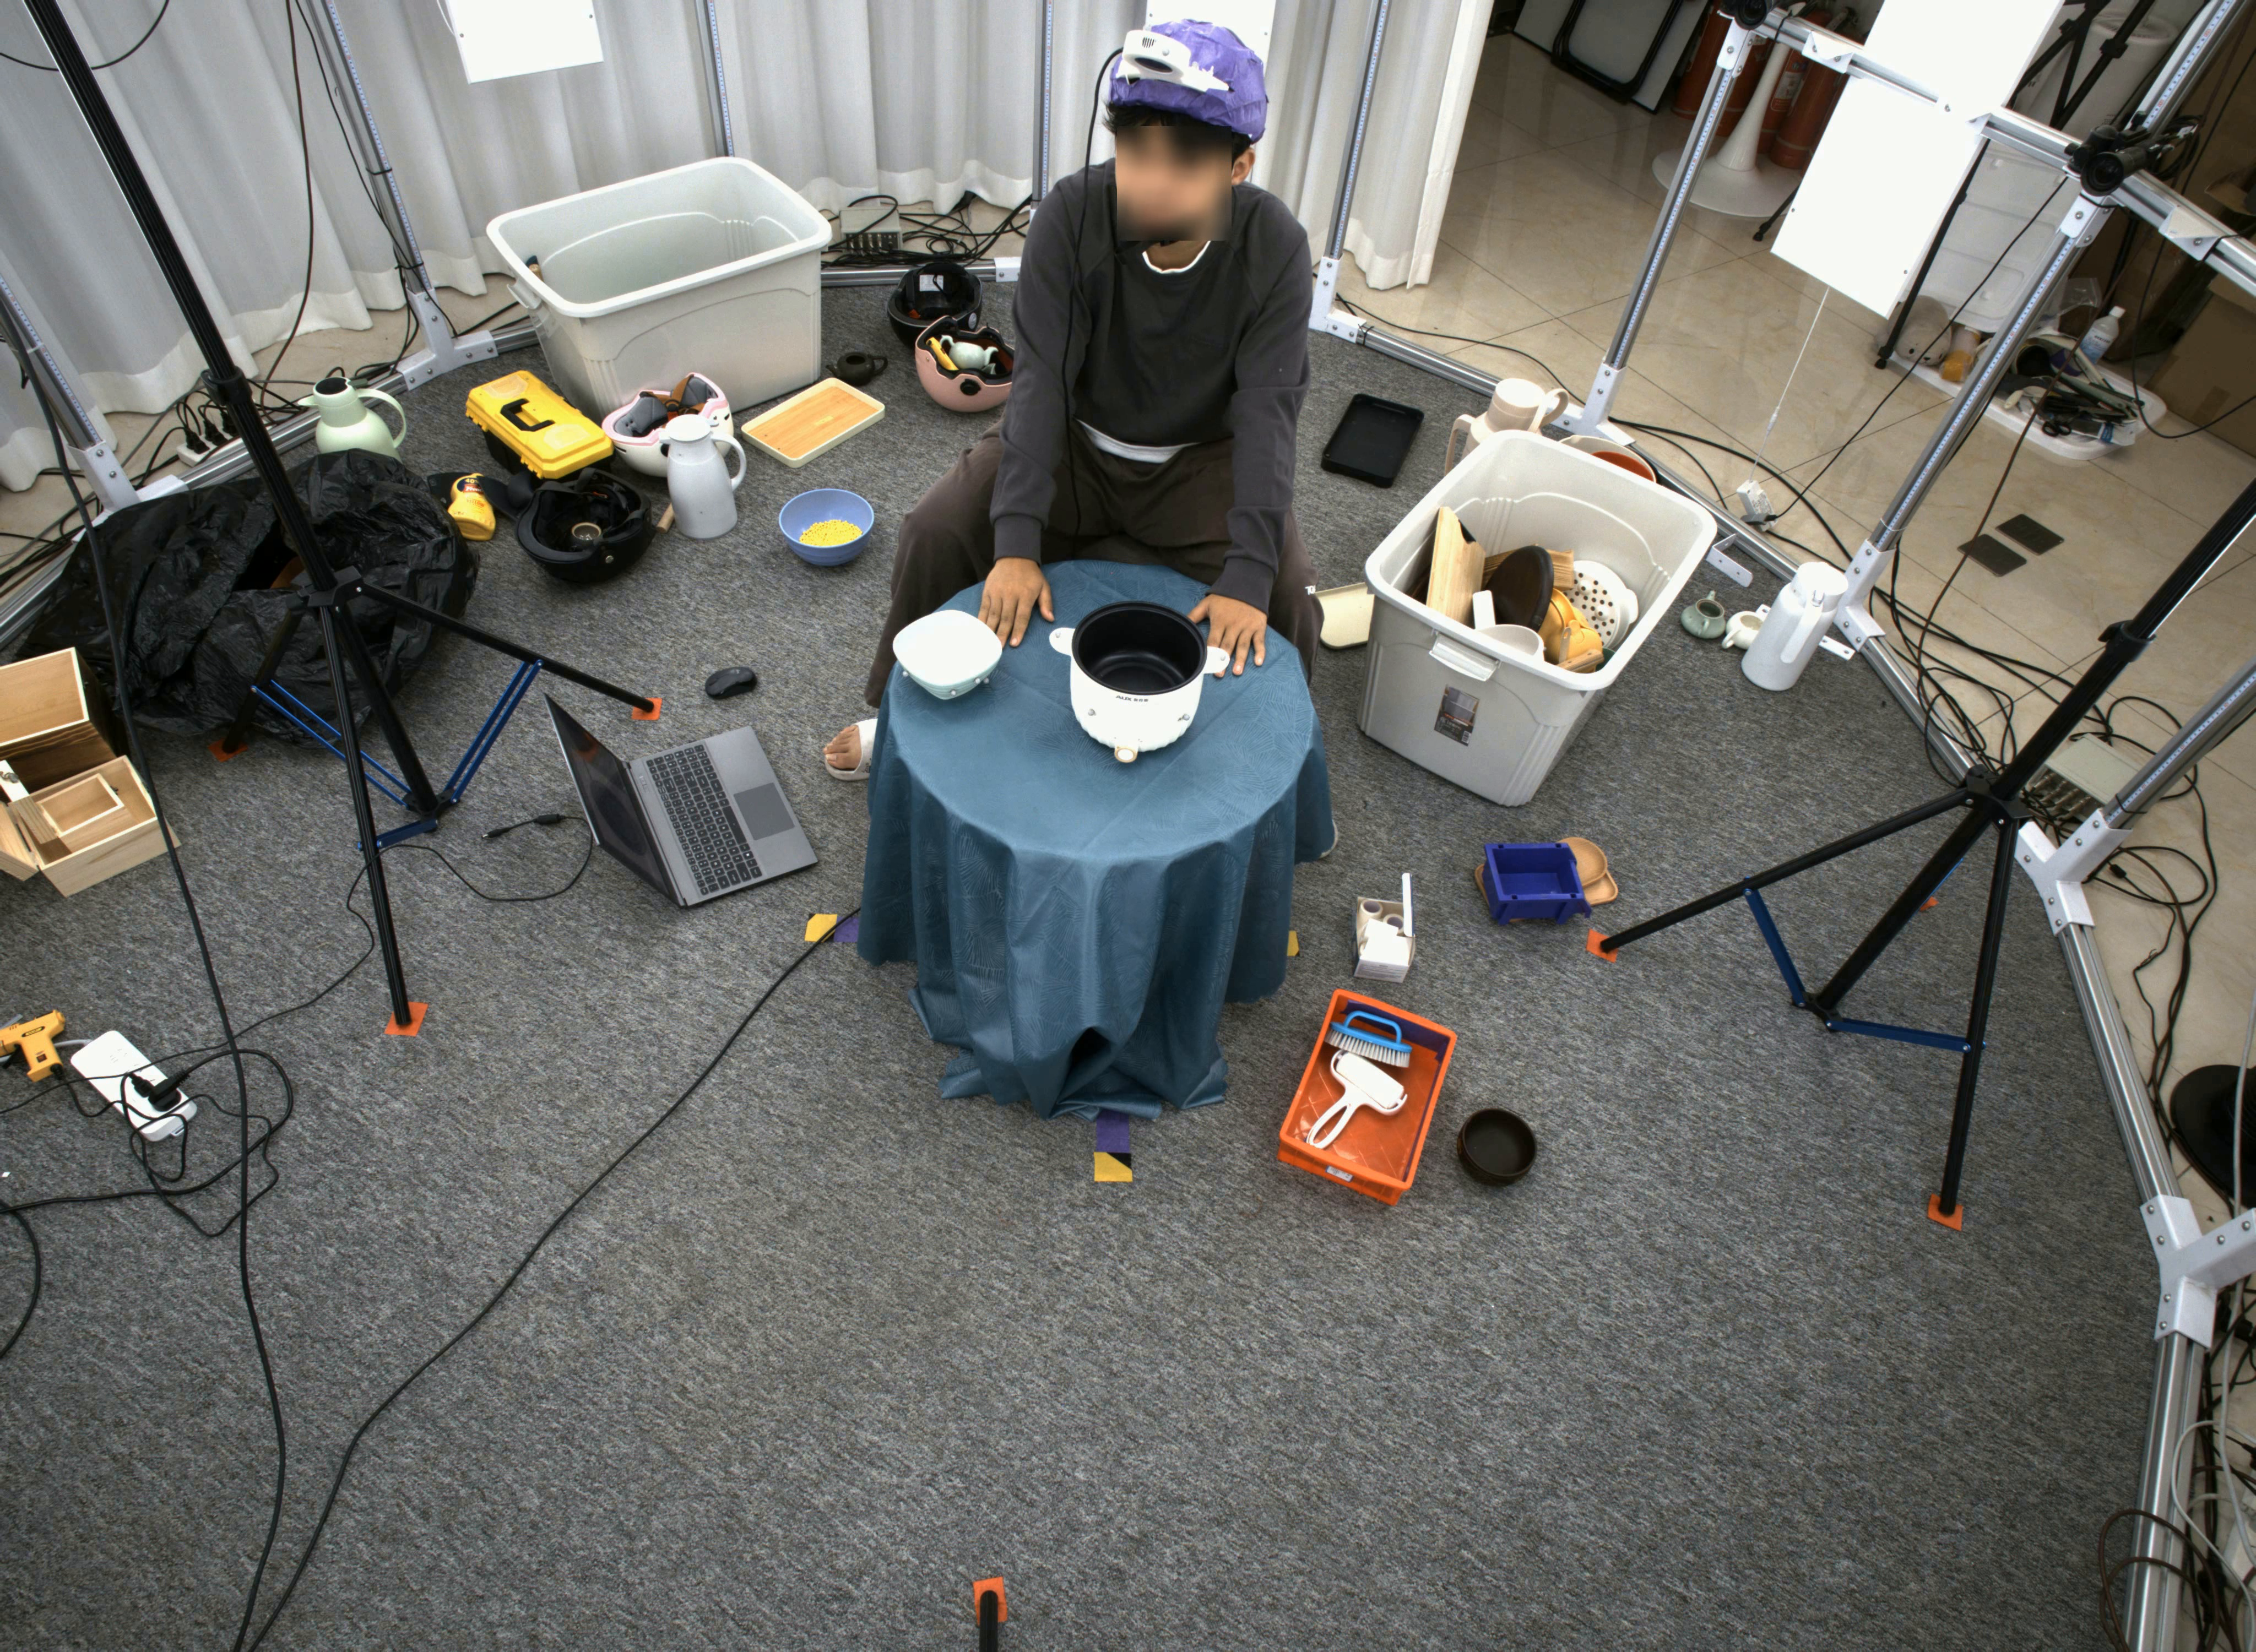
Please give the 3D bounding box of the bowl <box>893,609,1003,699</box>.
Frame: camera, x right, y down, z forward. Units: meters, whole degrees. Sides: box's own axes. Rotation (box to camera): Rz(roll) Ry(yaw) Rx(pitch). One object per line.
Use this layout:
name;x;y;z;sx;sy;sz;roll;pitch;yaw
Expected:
bowl;-0.252;-0.233;1.812;0.151;0.057;0.155;3;50;-4

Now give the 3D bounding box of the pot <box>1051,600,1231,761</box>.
pot;0.014;-0.195;1.744;0.240;0.139;0.195;5;46;2
